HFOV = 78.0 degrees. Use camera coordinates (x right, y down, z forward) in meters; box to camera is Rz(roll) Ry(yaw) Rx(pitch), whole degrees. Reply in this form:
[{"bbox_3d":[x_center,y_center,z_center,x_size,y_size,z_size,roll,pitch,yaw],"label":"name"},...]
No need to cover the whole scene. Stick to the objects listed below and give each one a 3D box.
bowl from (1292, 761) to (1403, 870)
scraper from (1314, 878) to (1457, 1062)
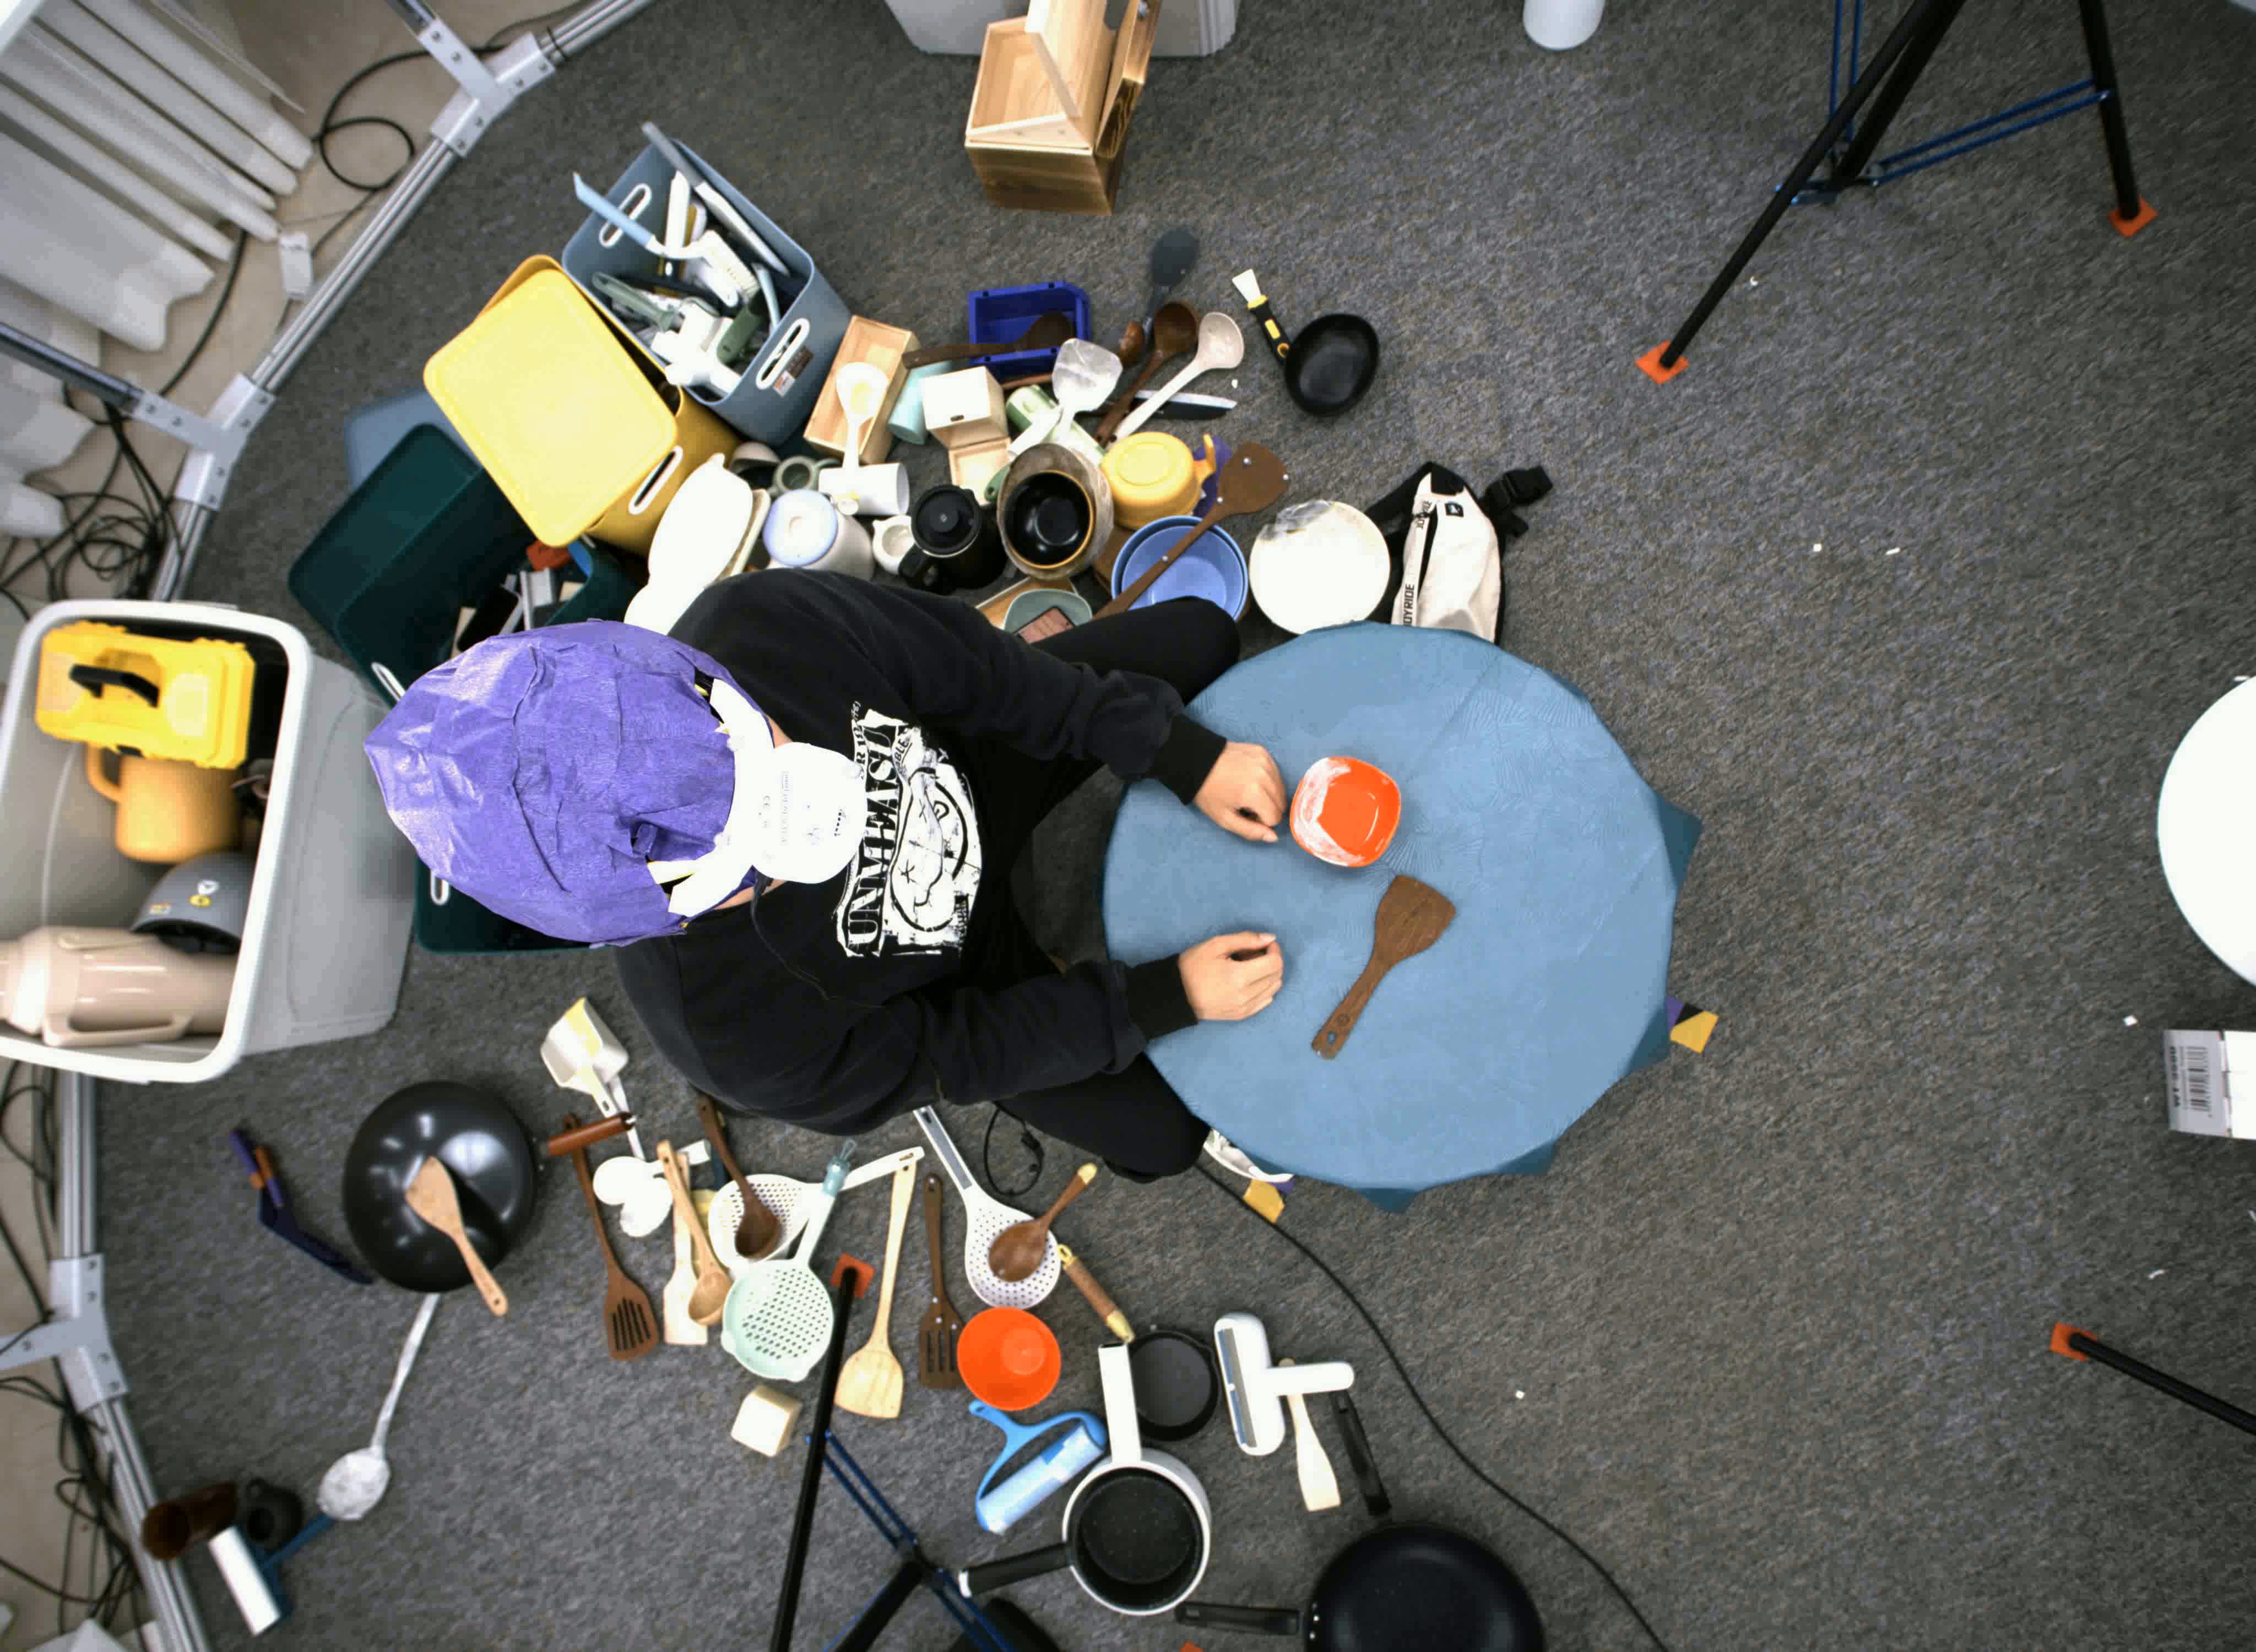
[{"bbox_3d":[0.231,-0.010,1.453,0.119,0.051,0.118,-1,86,9],"label":"bowl"},{"bbox_3d":[0.262,0.155,1.457,0.075,0.011,0.212,34,93,11],"label":"scraper"}]
